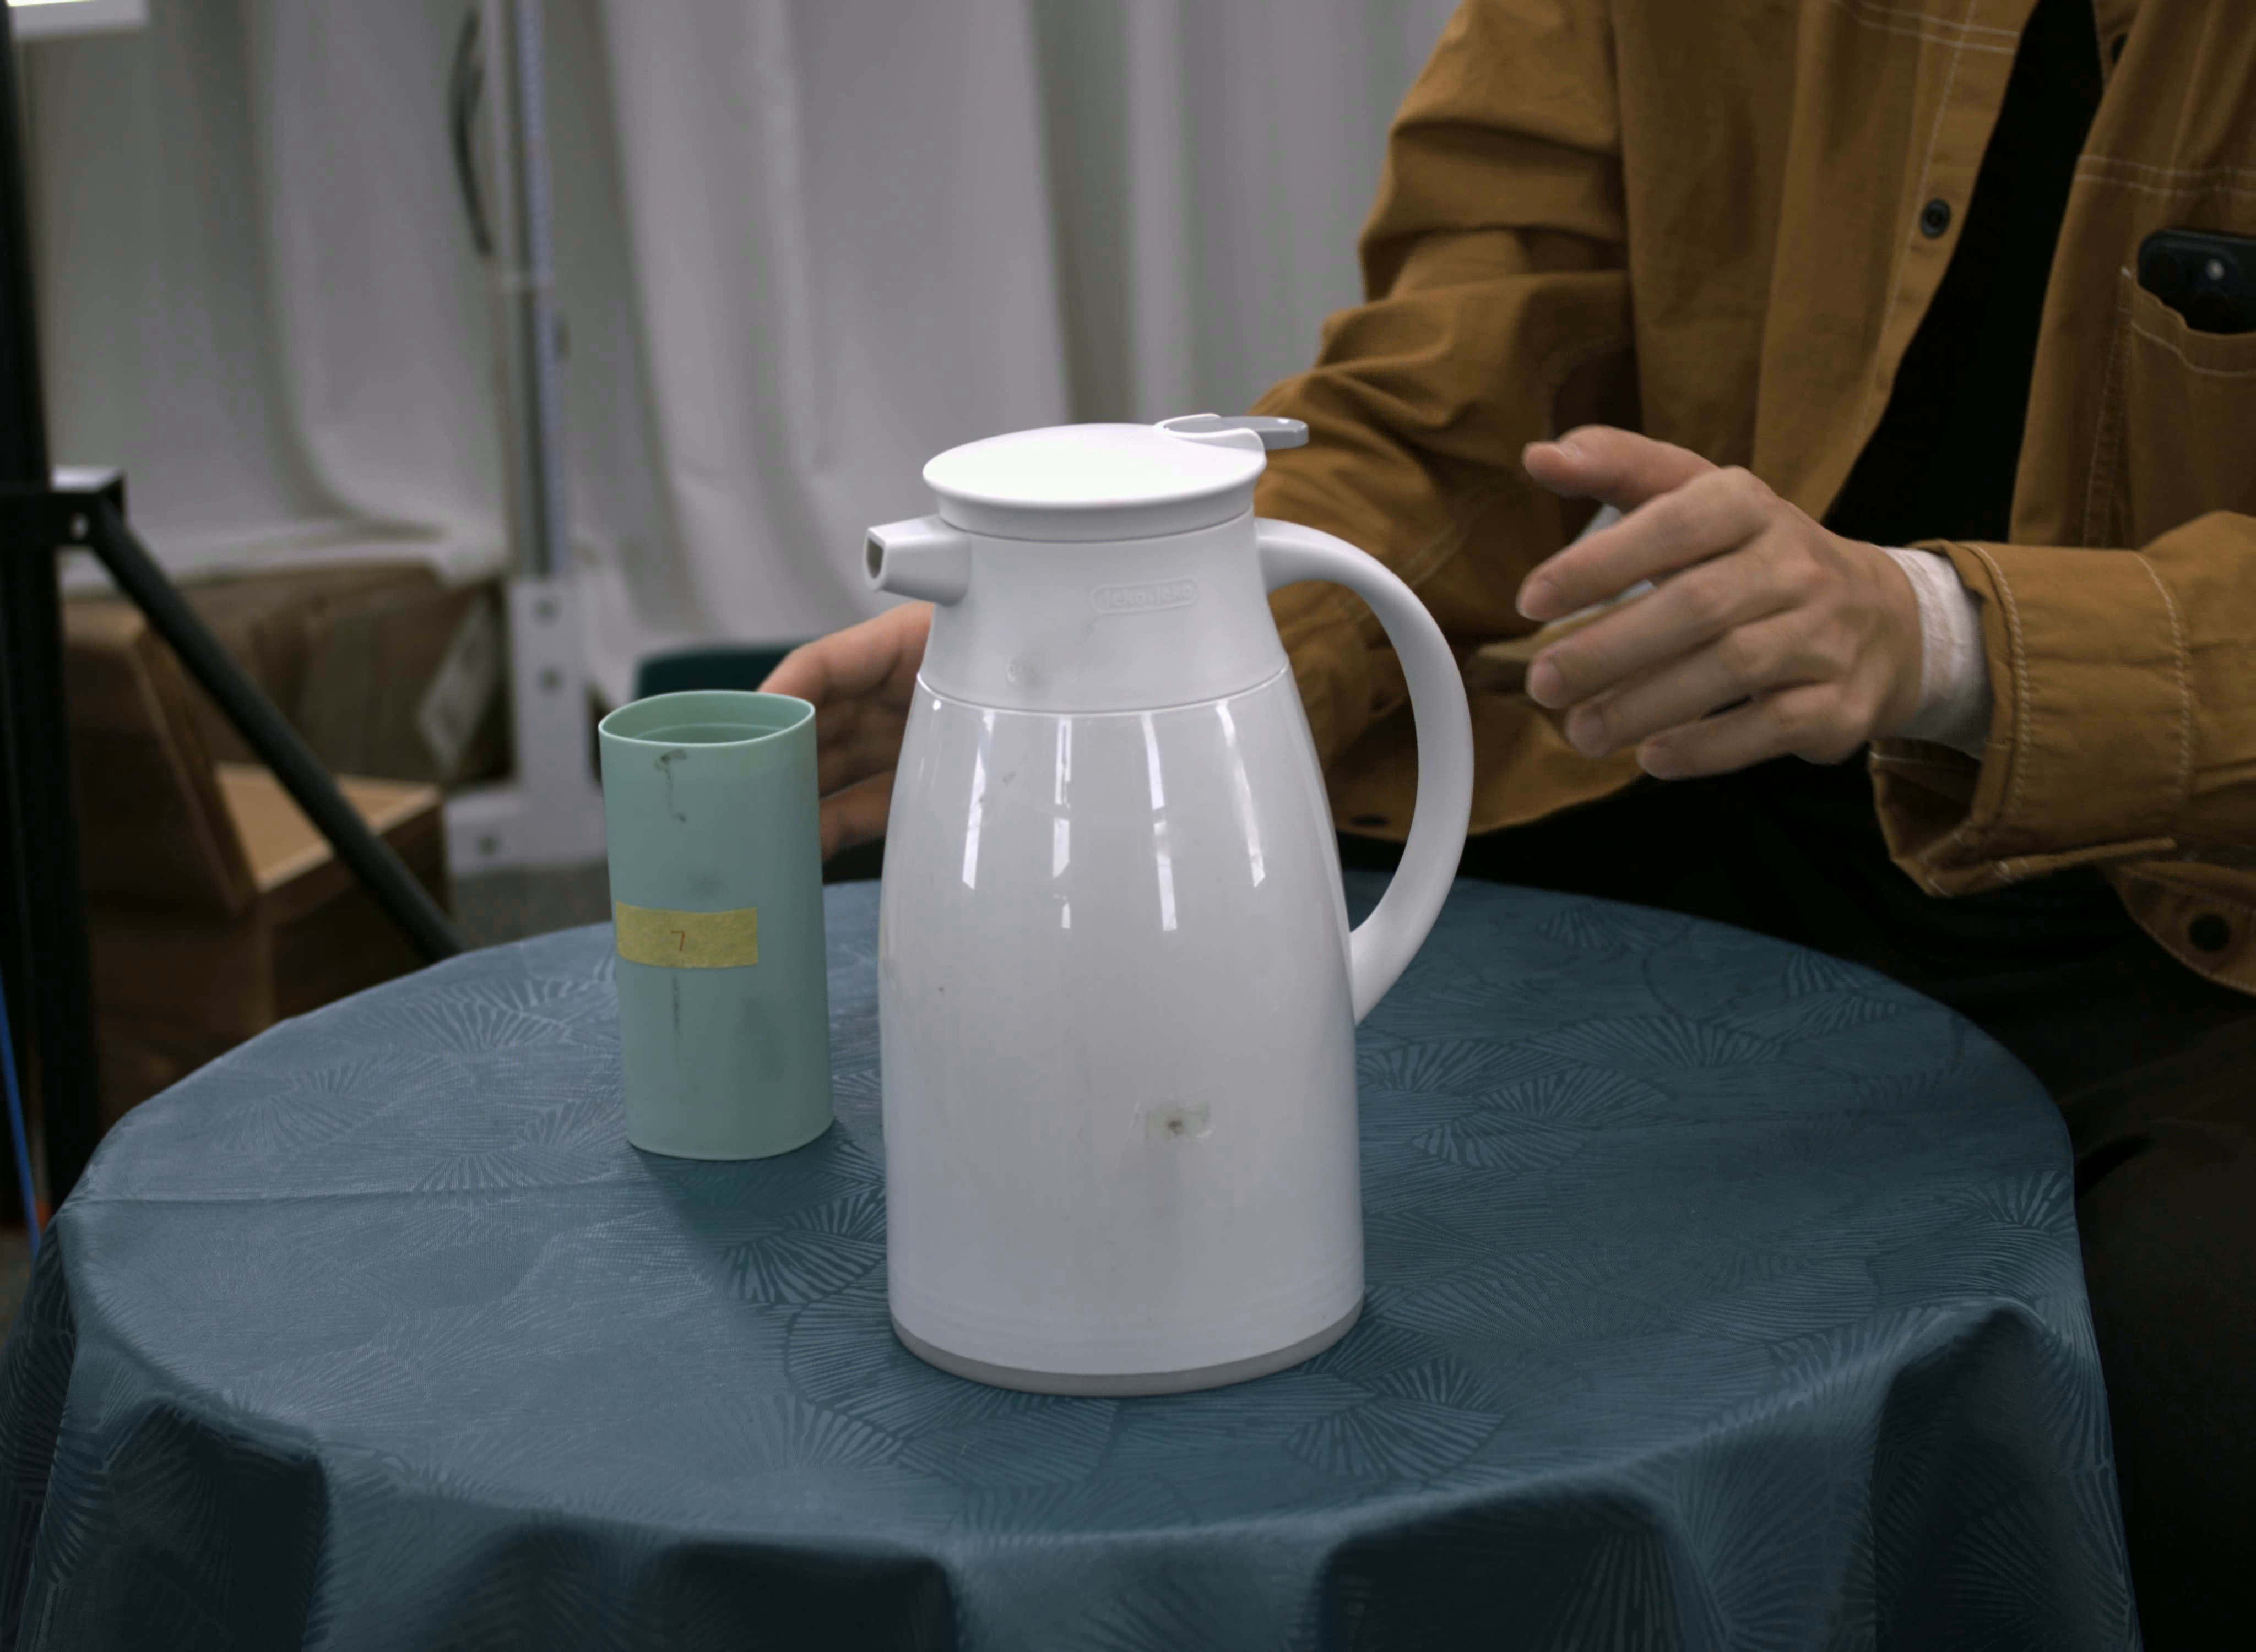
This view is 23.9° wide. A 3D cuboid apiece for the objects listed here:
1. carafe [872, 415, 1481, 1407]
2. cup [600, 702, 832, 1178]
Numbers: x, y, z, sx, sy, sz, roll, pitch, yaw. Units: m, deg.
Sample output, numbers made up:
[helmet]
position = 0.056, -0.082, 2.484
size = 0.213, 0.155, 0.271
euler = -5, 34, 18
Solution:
[carafe]
position = 0.014, 0.014, 1.437
size = 0.165, 0.248, 0.134
euler = -5, 17, -15
[cup]
position = -0.123, 0.033, 1.614
size = 0.066, 0.132, 0.067
euler = -2, 15, -1
